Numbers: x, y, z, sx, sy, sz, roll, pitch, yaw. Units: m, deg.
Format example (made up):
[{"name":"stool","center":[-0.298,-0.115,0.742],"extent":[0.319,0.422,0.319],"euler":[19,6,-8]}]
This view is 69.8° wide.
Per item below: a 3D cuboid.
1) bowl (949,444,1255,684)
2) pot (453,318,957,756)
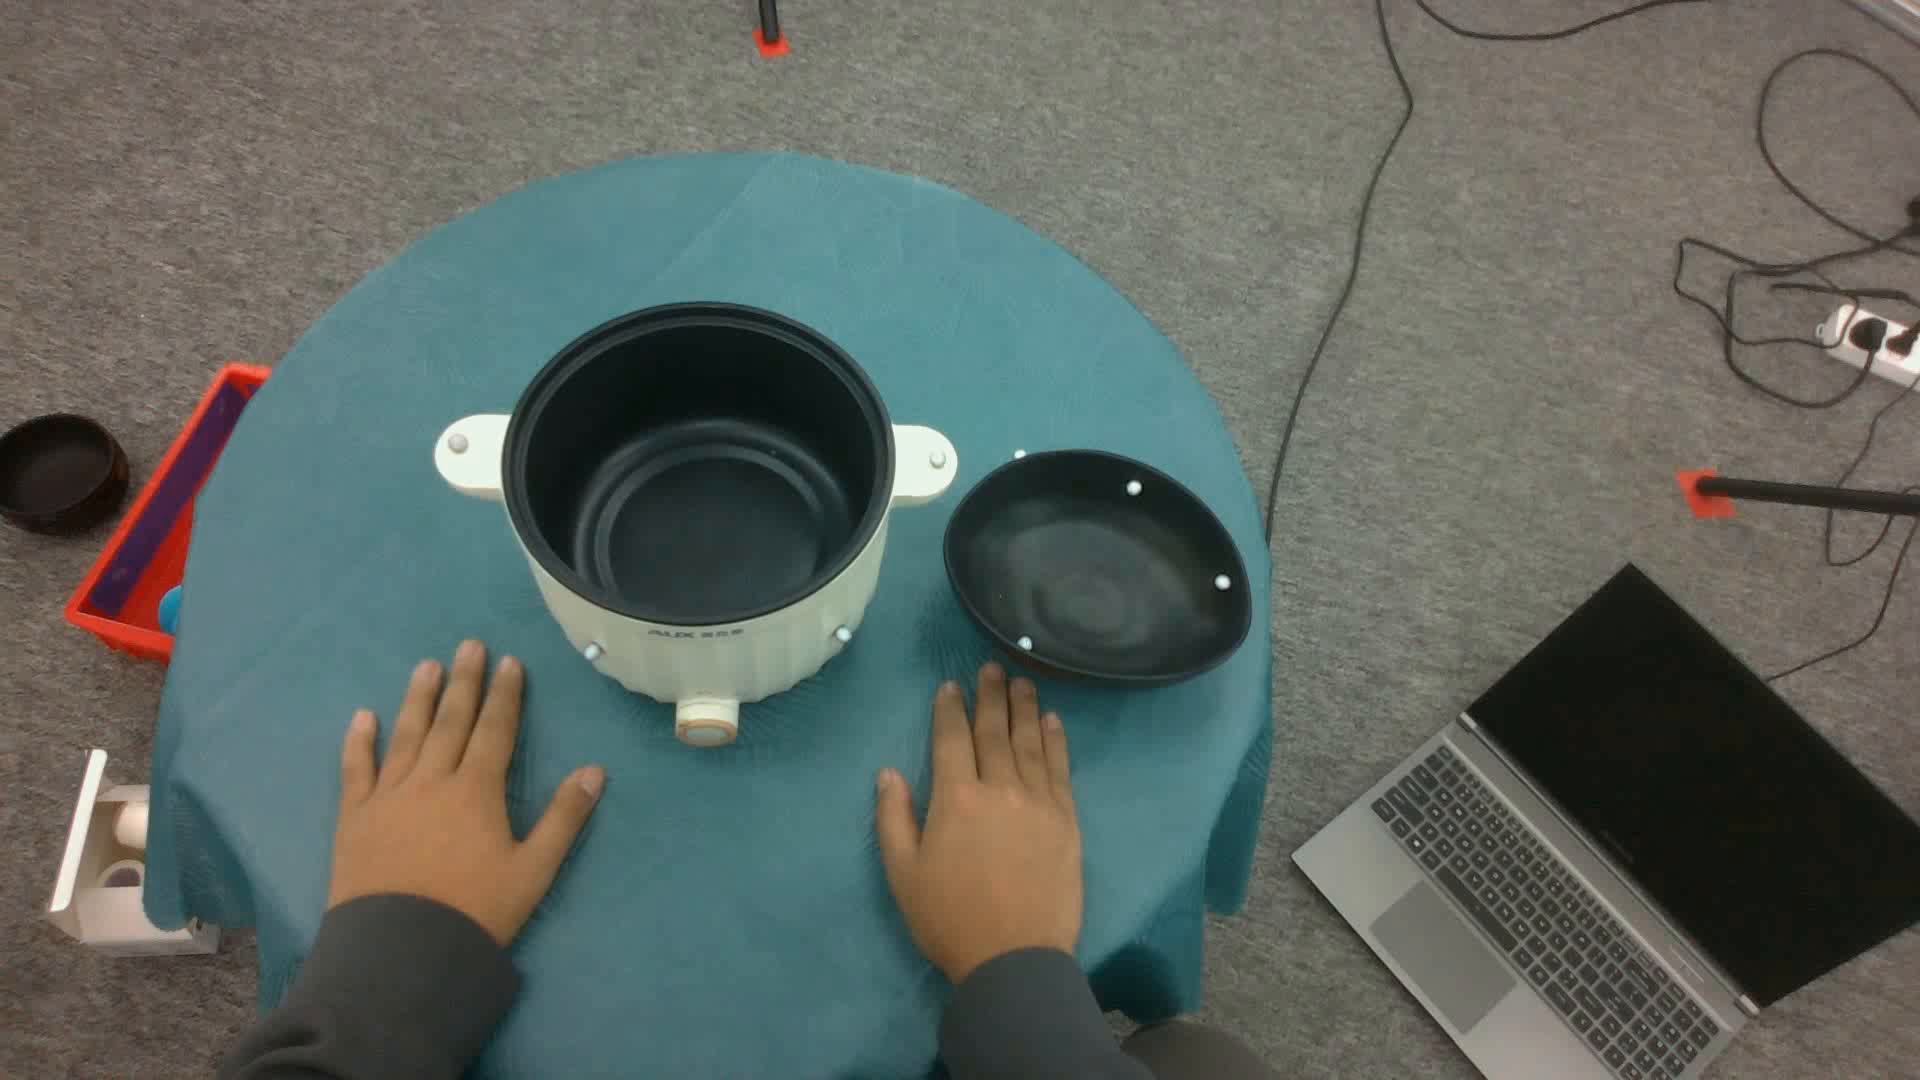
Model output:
[{"name":"bowl","center":[0.076,0.022,0.760],"extent":[0.170,0.066,0.138],"euler":[13,60,2]},{"name":"pot","center":[-0.122,0.002,0.714],"extent":[0.240,0.142,0.191],"euler":[-4,57,-5]}]
